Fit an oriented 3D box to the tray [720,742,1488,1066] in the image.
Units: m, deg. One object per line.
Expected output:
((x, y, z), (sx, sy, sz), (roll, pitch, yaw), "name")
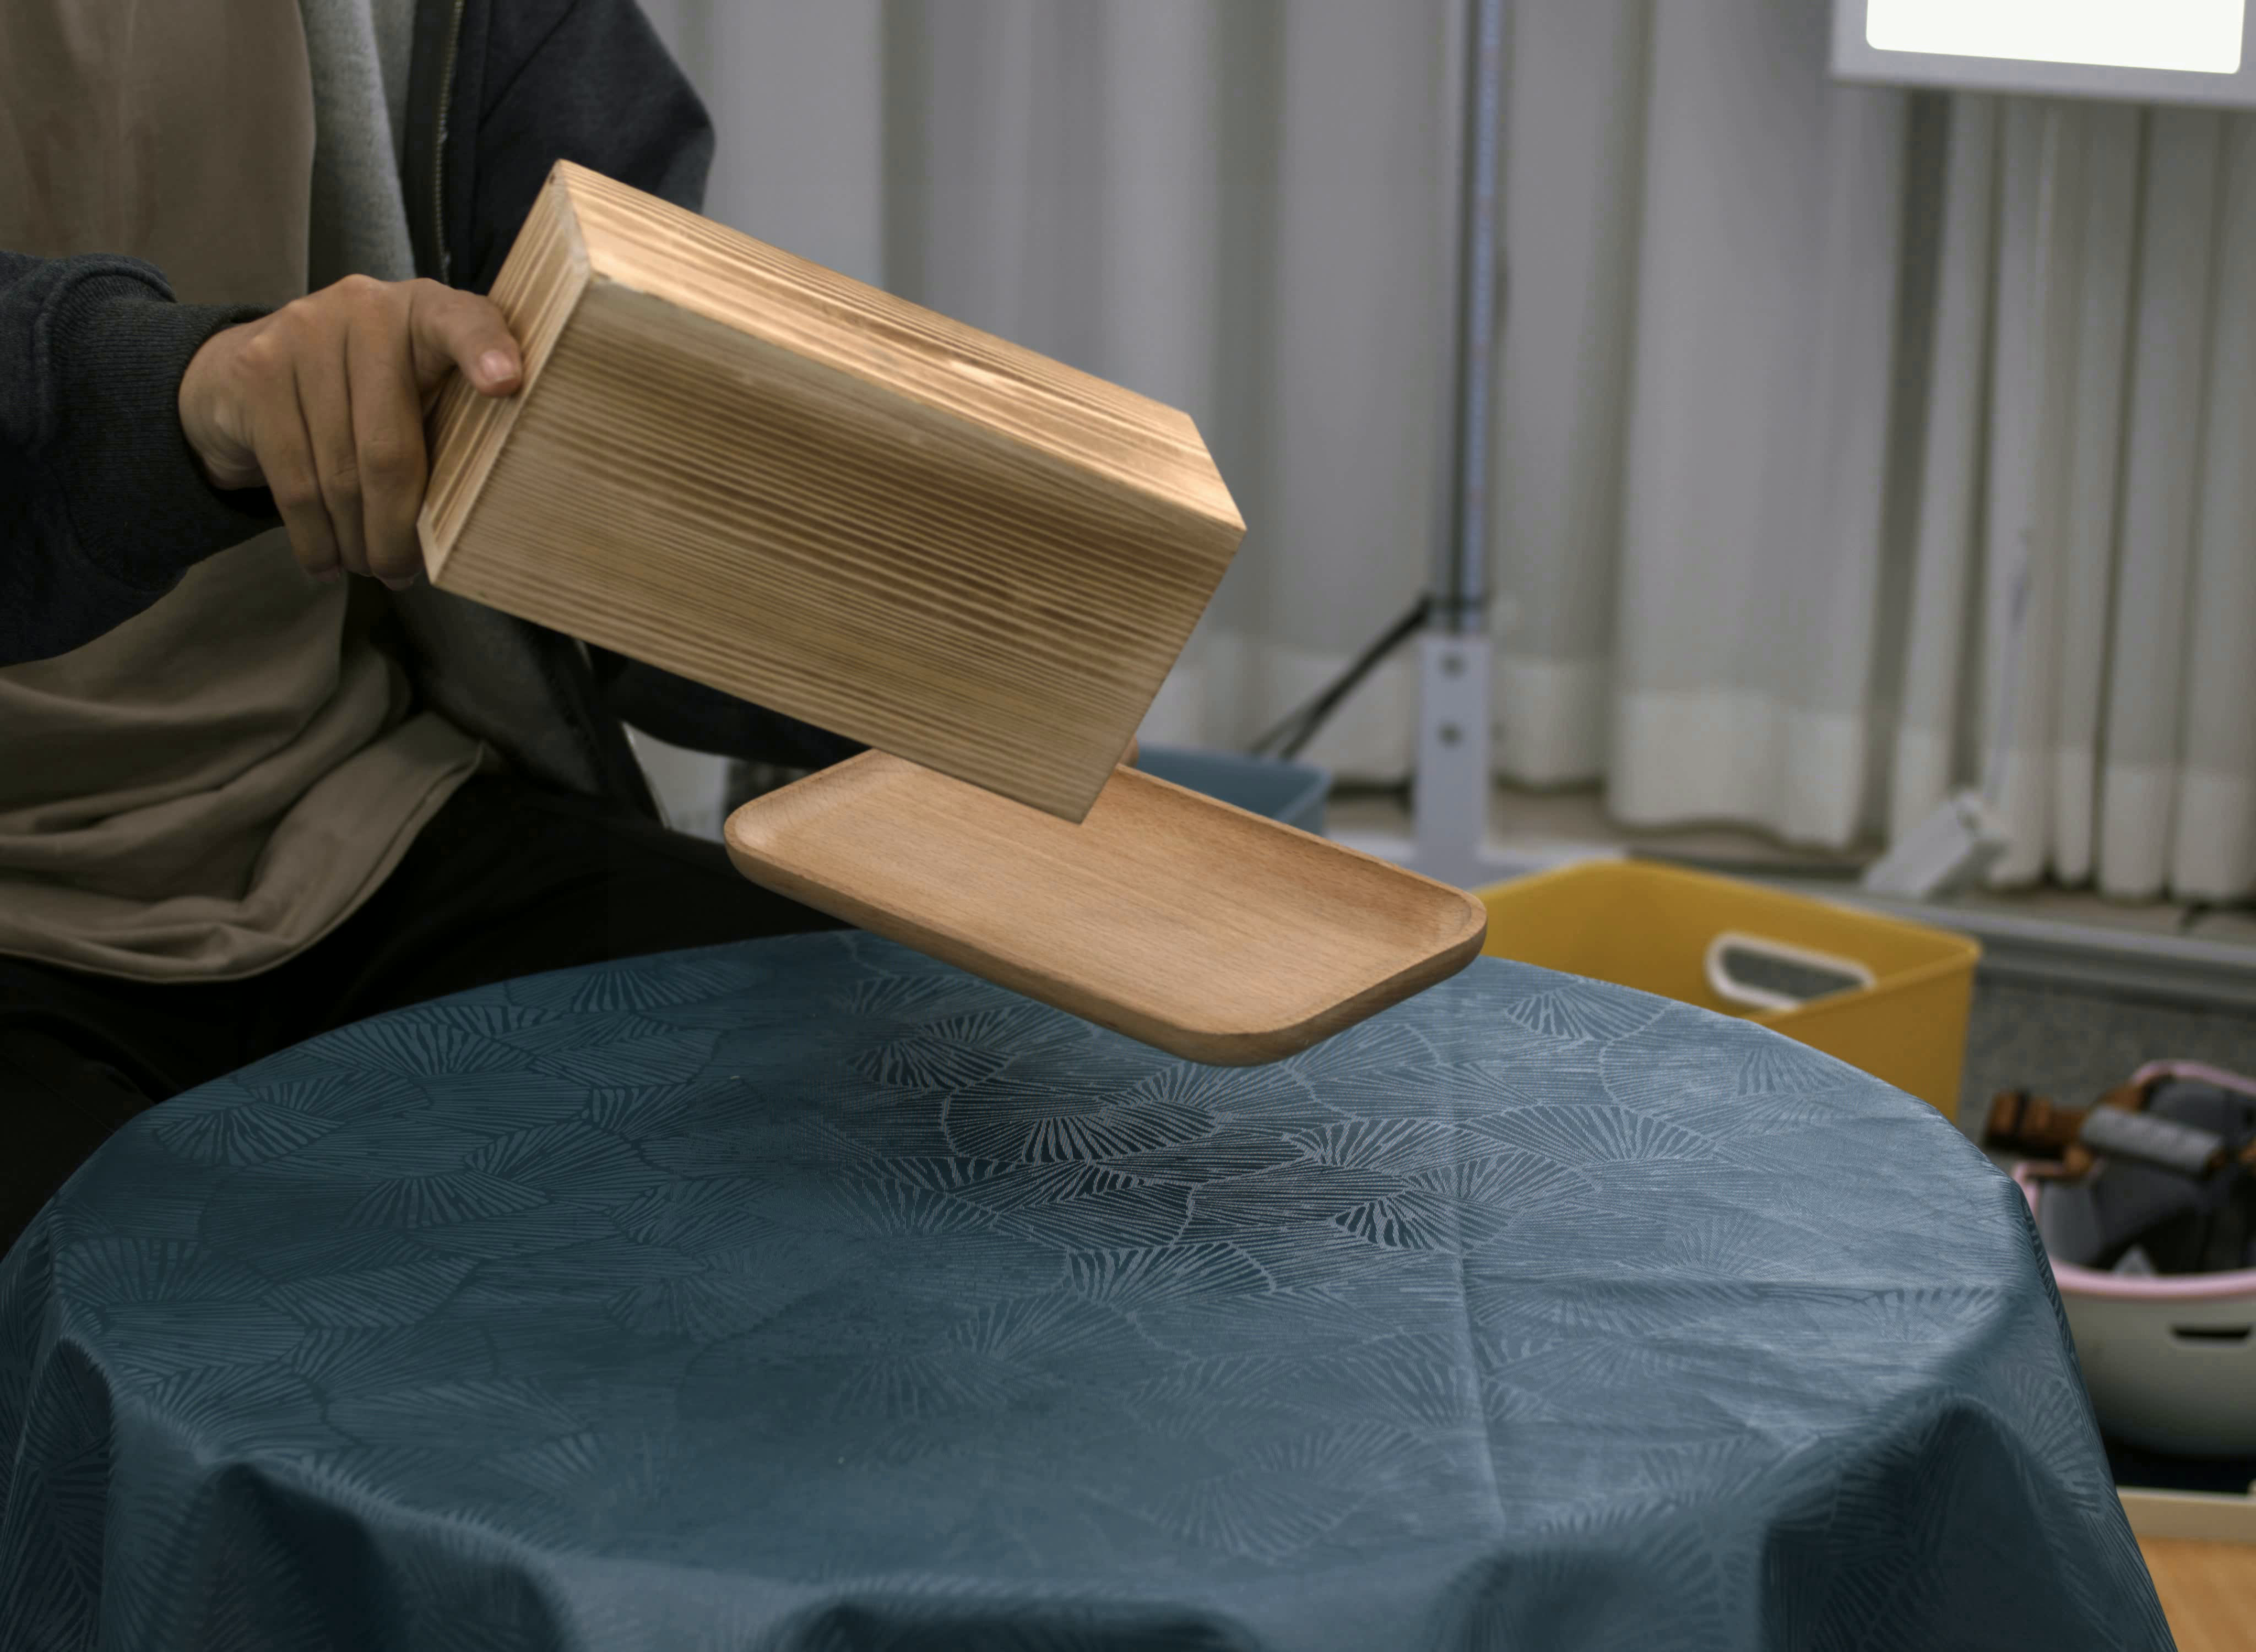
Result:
((-0.010, 0.018, 1.657), (0.131, 0.023, 0.247), (-21, 30, -40), "tray")

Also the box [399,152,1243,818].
((-0.089, -0.096, 1.511), (0.213, 0.108, 0.079), (20, 23, -24), "box")
